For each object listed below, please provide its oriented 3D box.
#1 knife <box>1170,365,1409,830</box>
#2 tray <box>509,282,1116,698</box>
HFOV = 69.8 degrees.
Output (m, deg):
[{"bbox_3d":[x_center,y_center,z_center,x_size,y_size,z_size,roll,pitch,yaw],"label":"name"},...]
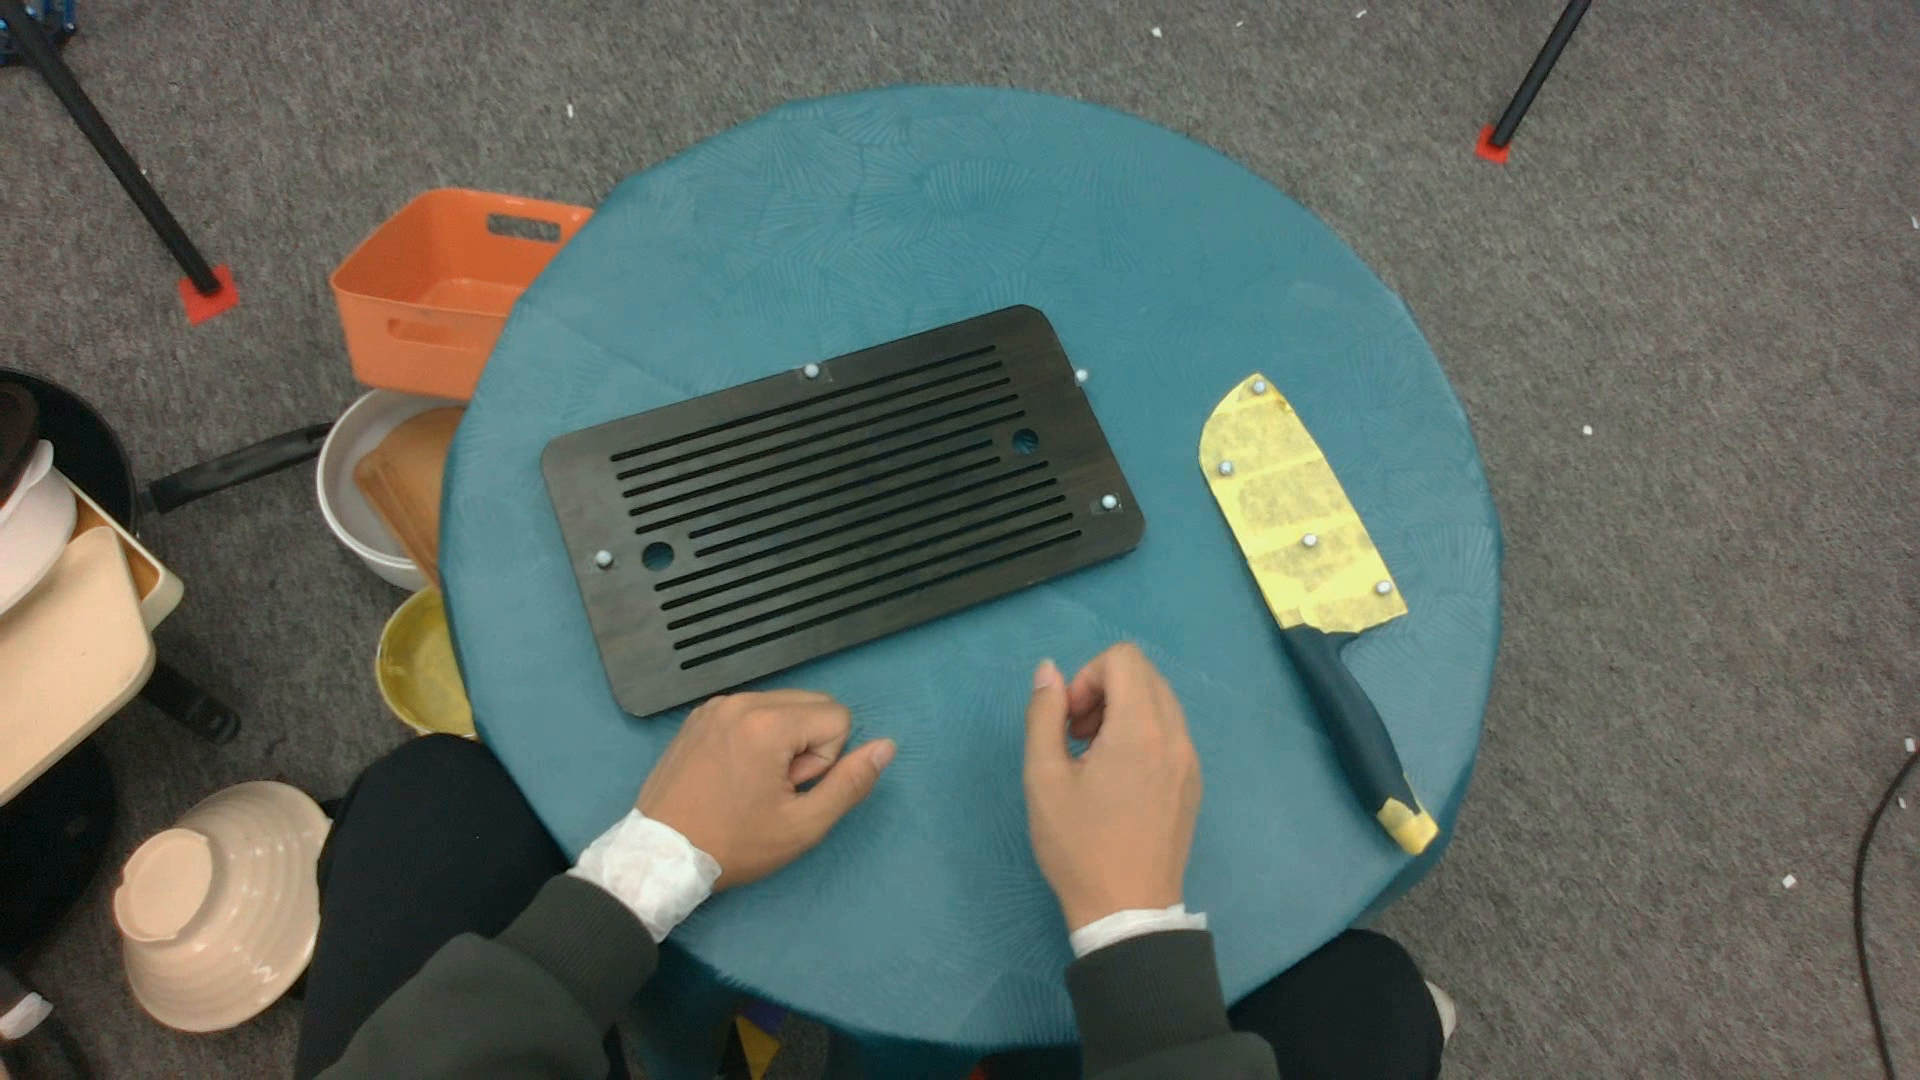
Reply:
[{"bbox_3d":[0.193,0.021,0.779,0.081,0.027,0.290,-16,68,-8],"label":"knife"},{"bbox_3d":[-0.079,-0.035,0.767,0.306,0.018,0.170,-19,70,-15],"label":"tray"}]
